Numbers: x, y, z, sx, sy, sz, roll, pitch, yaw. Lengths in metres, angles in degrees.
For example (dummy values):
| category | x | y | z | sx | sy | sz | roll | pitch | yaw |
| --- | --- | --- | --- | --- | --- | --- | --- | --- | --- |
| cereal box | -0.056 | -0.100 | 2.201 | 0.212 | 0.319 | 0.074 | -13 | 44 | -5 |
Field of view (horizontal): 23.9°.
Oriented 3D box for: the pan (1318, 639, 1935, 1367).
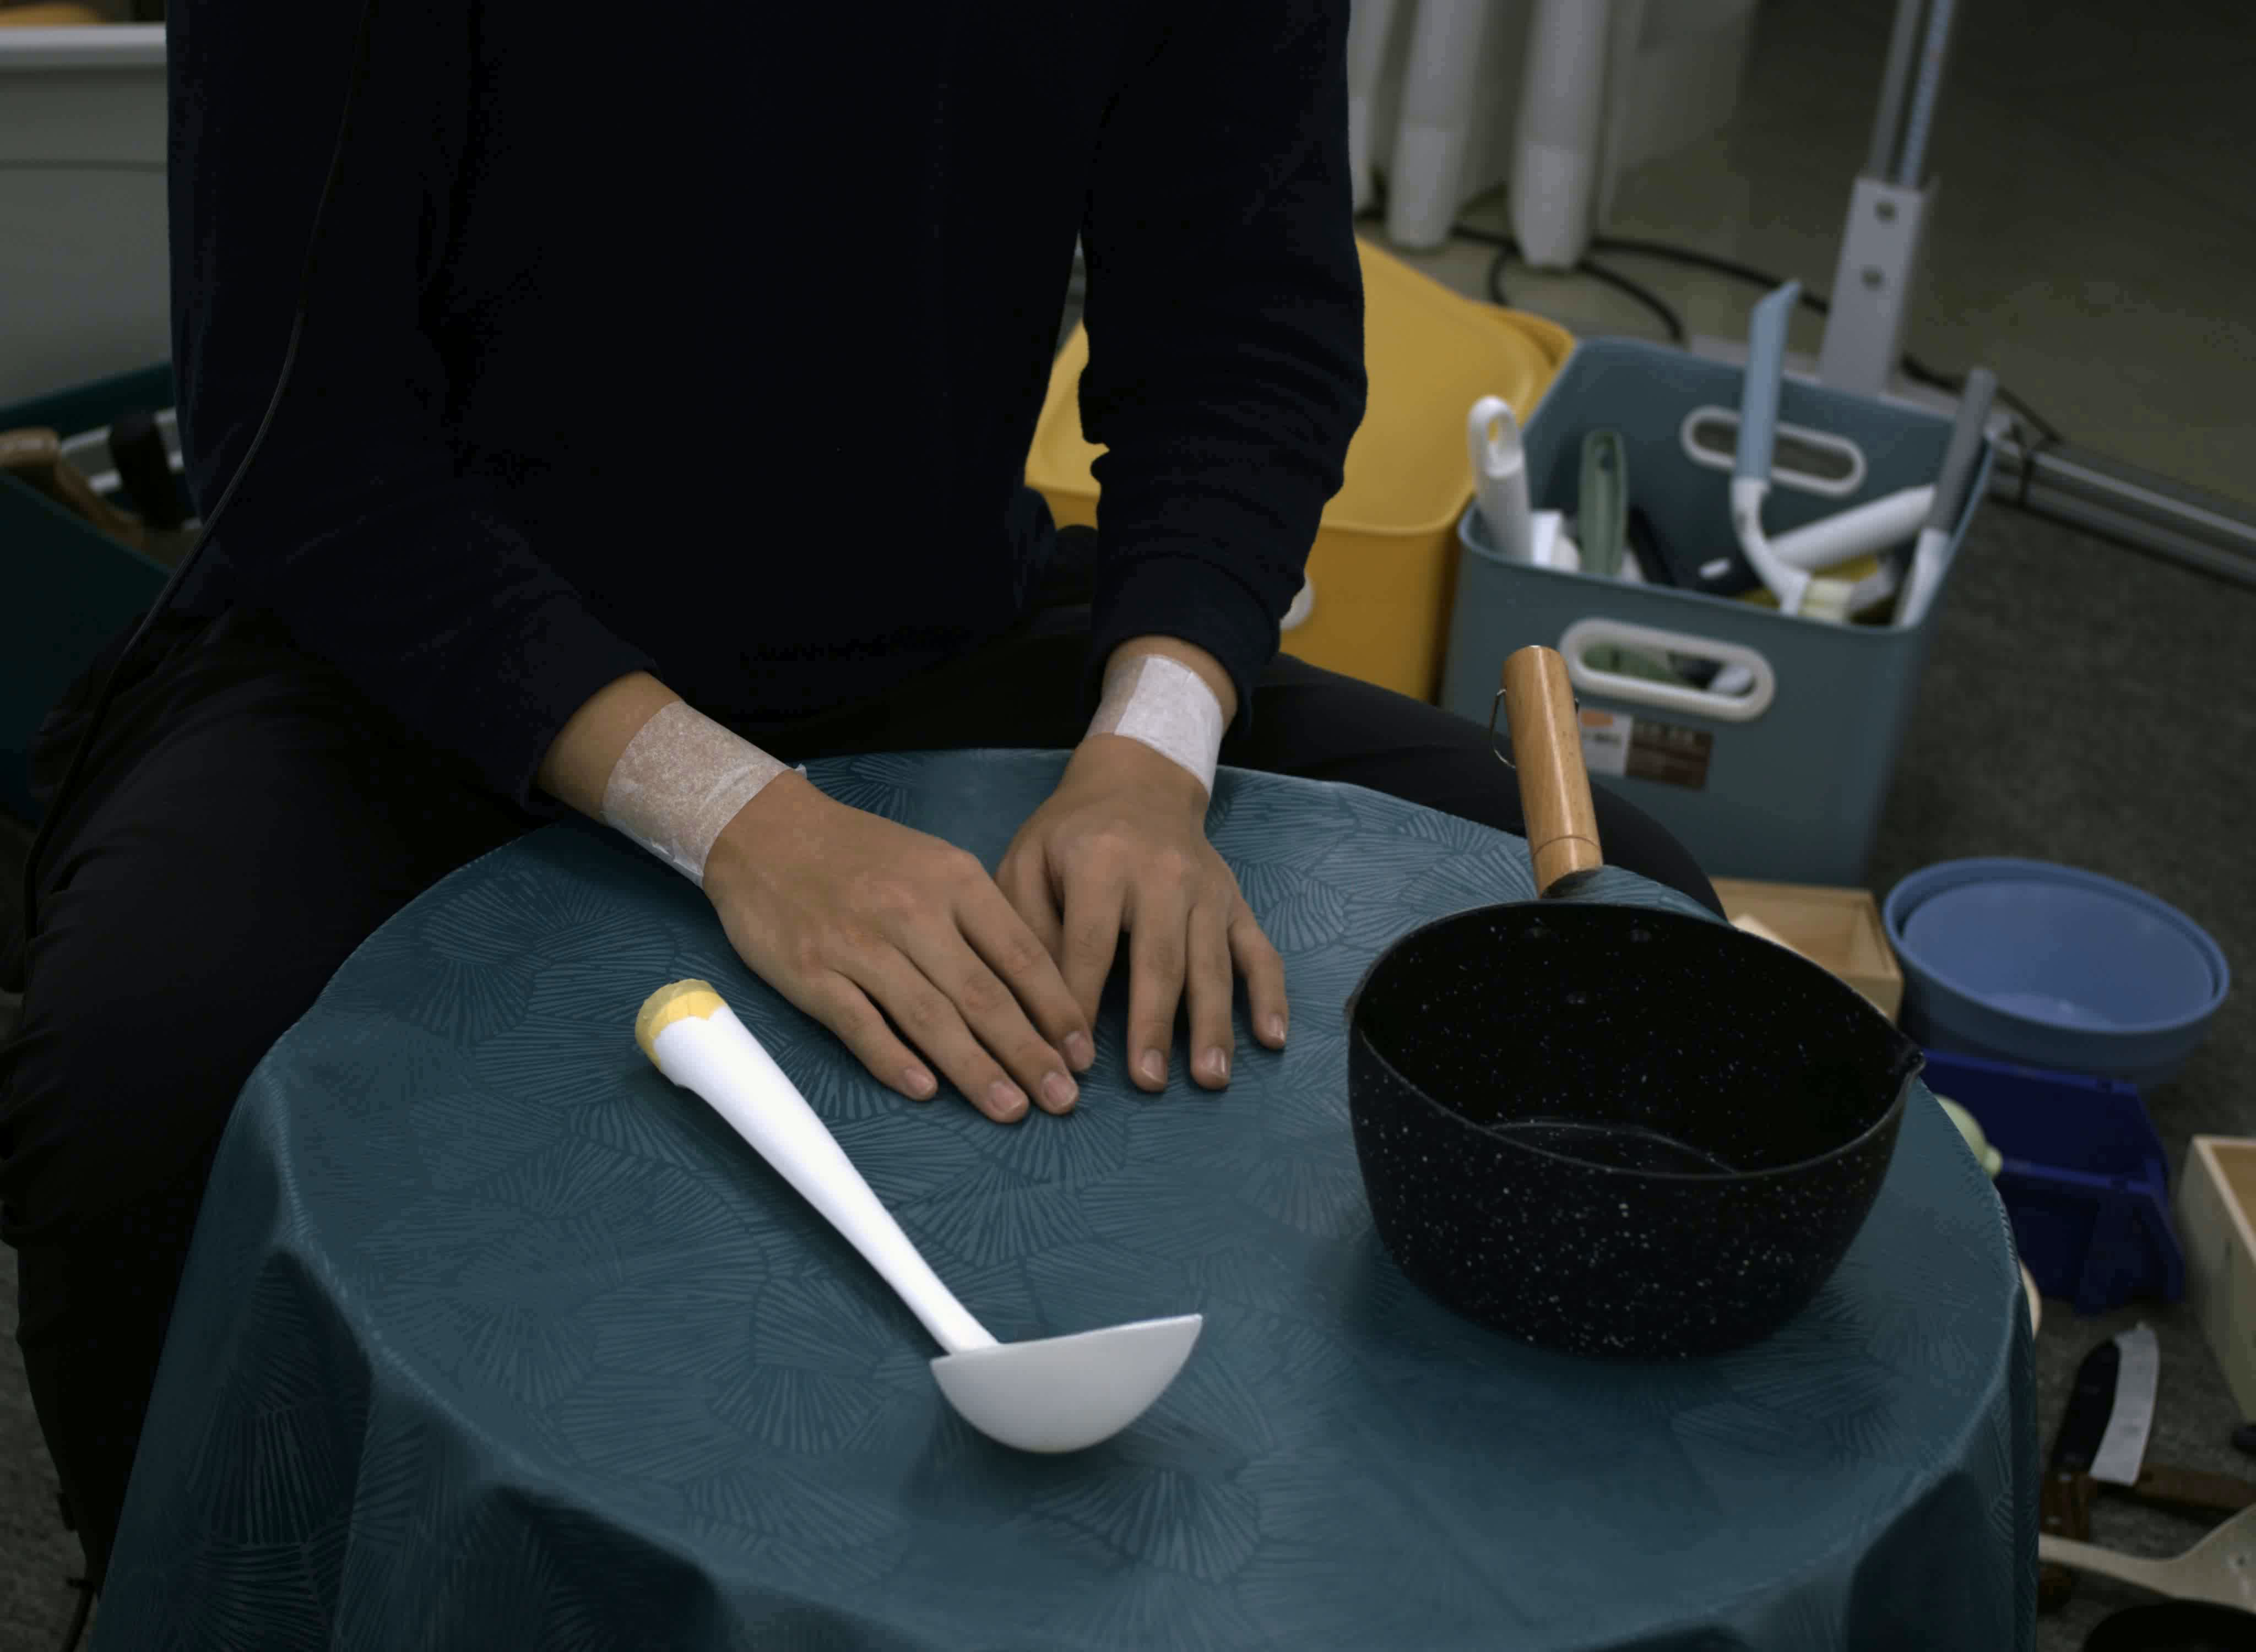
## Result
| category | x | y | z | sx | sy | sz | roll | pitch | yaw |
| --- | --- | --- | --- | --- | --- | --- | --- | --- | --- |
| pan | 0.157 | 0.058 | 1.848 | 0.206 | 0.108 | 0.345 | 2 | 29 | -7 |

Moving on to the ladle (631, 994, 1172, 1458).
| category | x | y | z | sx | sy | sz | roll | pitch | yaw |
| --- | --- | --- | --- | --- | --- | --- | --- | --- | --- |
| ladle | -0.086 | 0.118 | 1.724 | 0.089 | 0.069 | 0.295 | -13 | 32 | -26 |
